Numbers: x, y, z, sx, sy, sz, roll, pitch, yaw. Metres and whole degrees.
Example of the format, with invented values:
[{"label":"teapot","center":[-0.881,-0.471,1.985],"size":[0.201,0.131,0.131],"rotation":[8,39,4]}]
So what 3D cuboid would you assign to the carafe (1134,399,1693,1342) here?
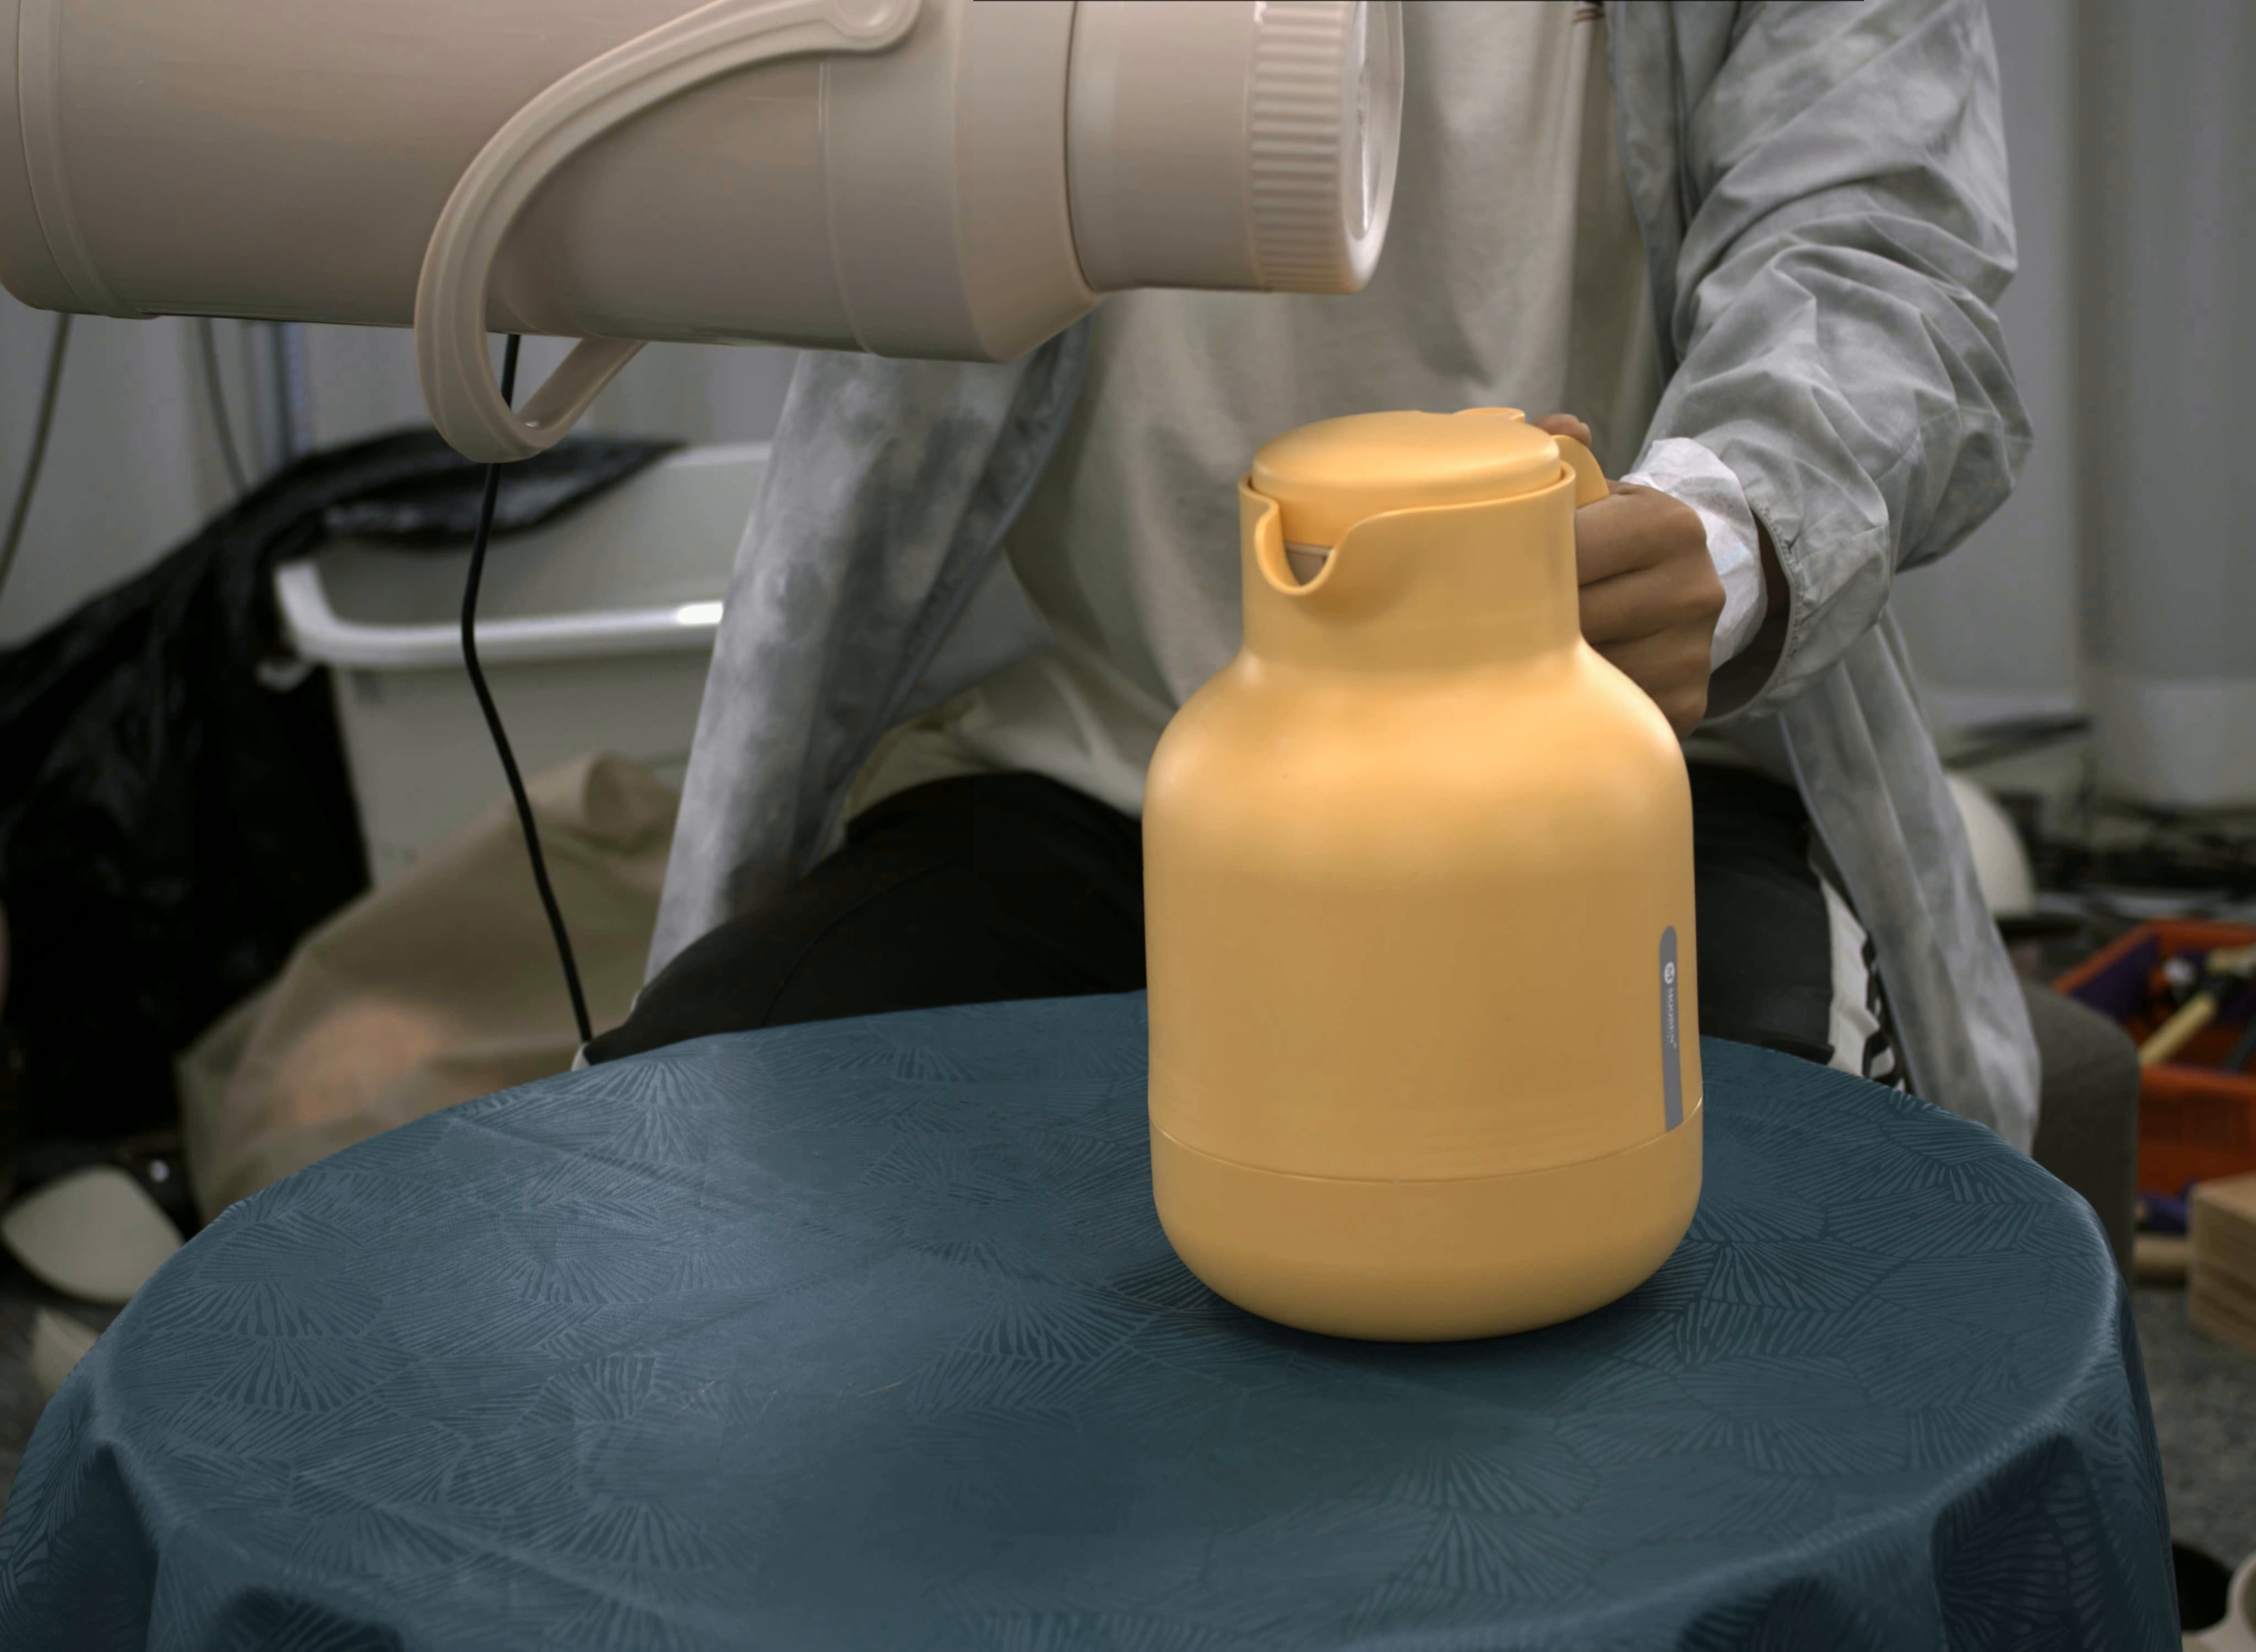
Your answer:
[{"label":"carafe","center":[0.093,0.005,1.610],"size":[0.164,0.259,0.202],"rotation":[8,18,30]}]

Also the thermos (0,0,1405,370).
[{"label":"thermos","center":[-0.124,-0.232,1.605],"size":[0.406,0.208,0.174],"rotation":[4,-9,14]}]
